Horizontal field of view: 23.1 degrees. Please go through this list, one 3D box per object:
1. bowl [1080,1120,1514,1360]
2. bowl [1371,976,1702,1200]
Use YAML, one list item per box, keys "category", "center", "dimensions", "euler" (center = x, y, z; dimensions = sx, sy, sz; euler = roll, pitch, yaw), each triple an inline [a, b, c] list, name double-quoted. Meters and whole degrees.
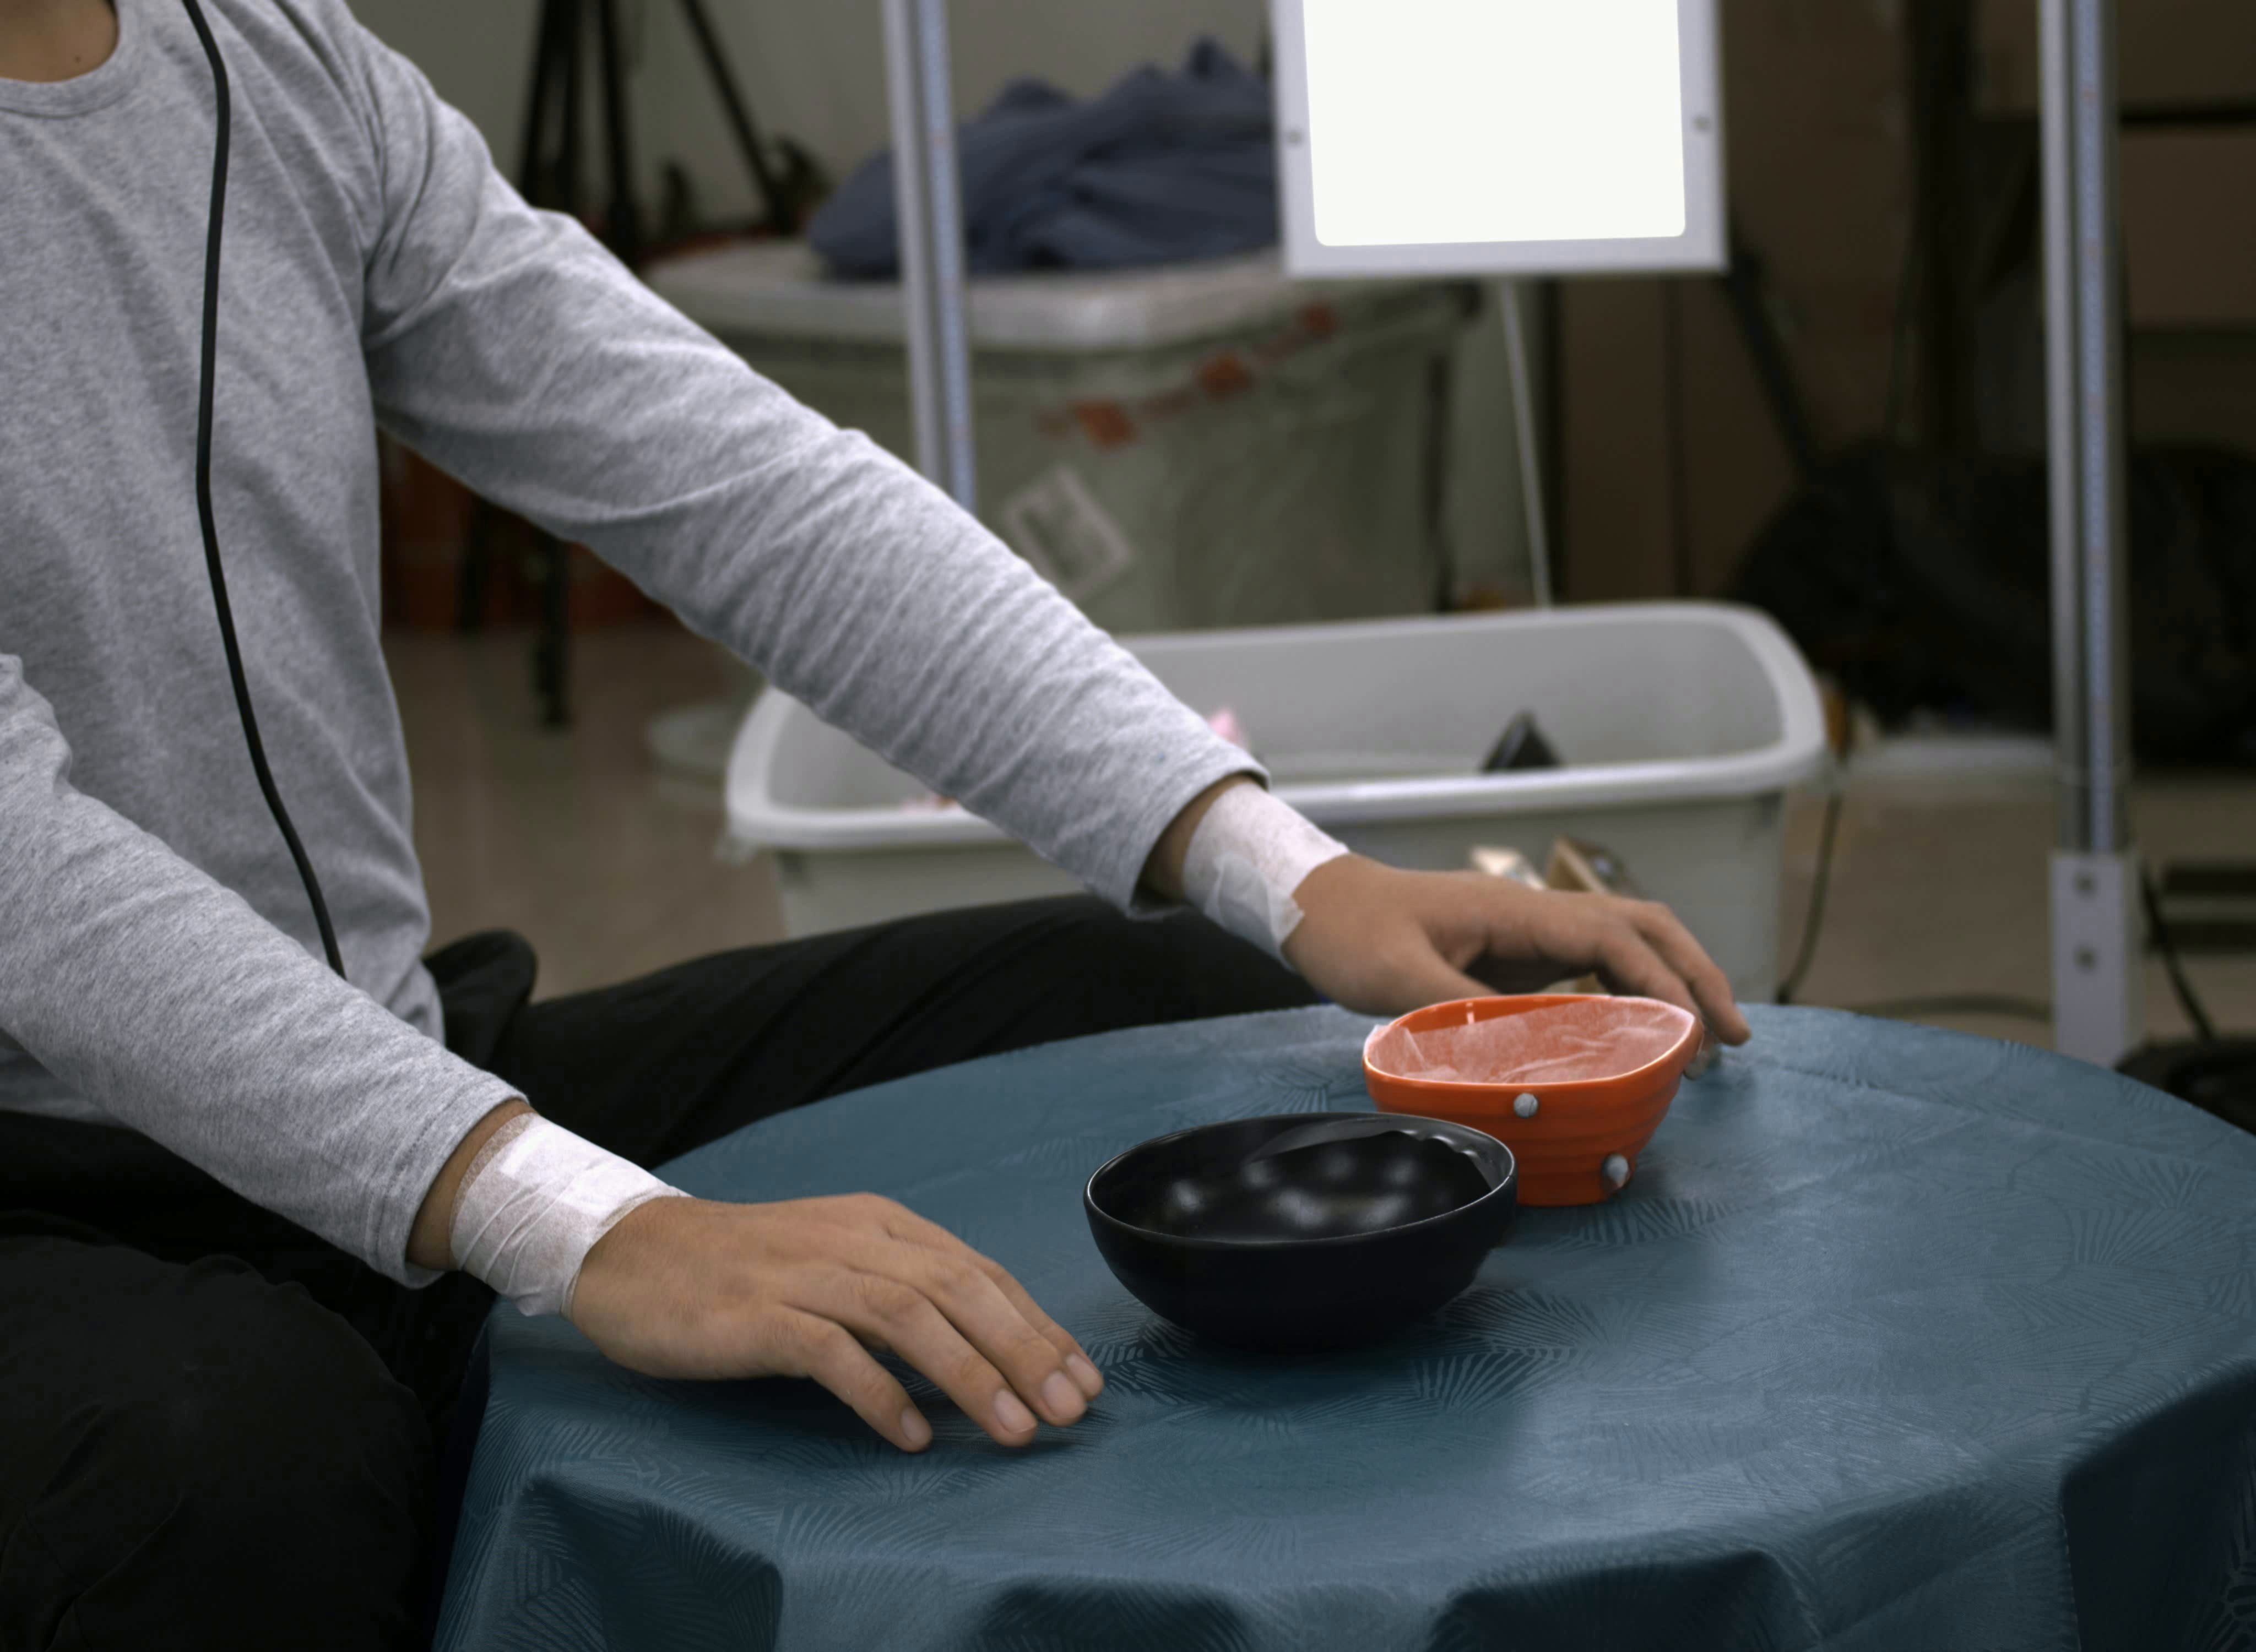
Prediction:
- category: "bowl"
  center: [0.056, 0.136, 1.750]
  dimensions: [0.140, 0.050, 0.140]
  euler: [-7, 12, 0]
- category: "bowl"
  center: [0.139, 0.091, 1.874]
  dimensions: [0.118, 0.051, 0.119]
  euler: [-1, 17, -1]
